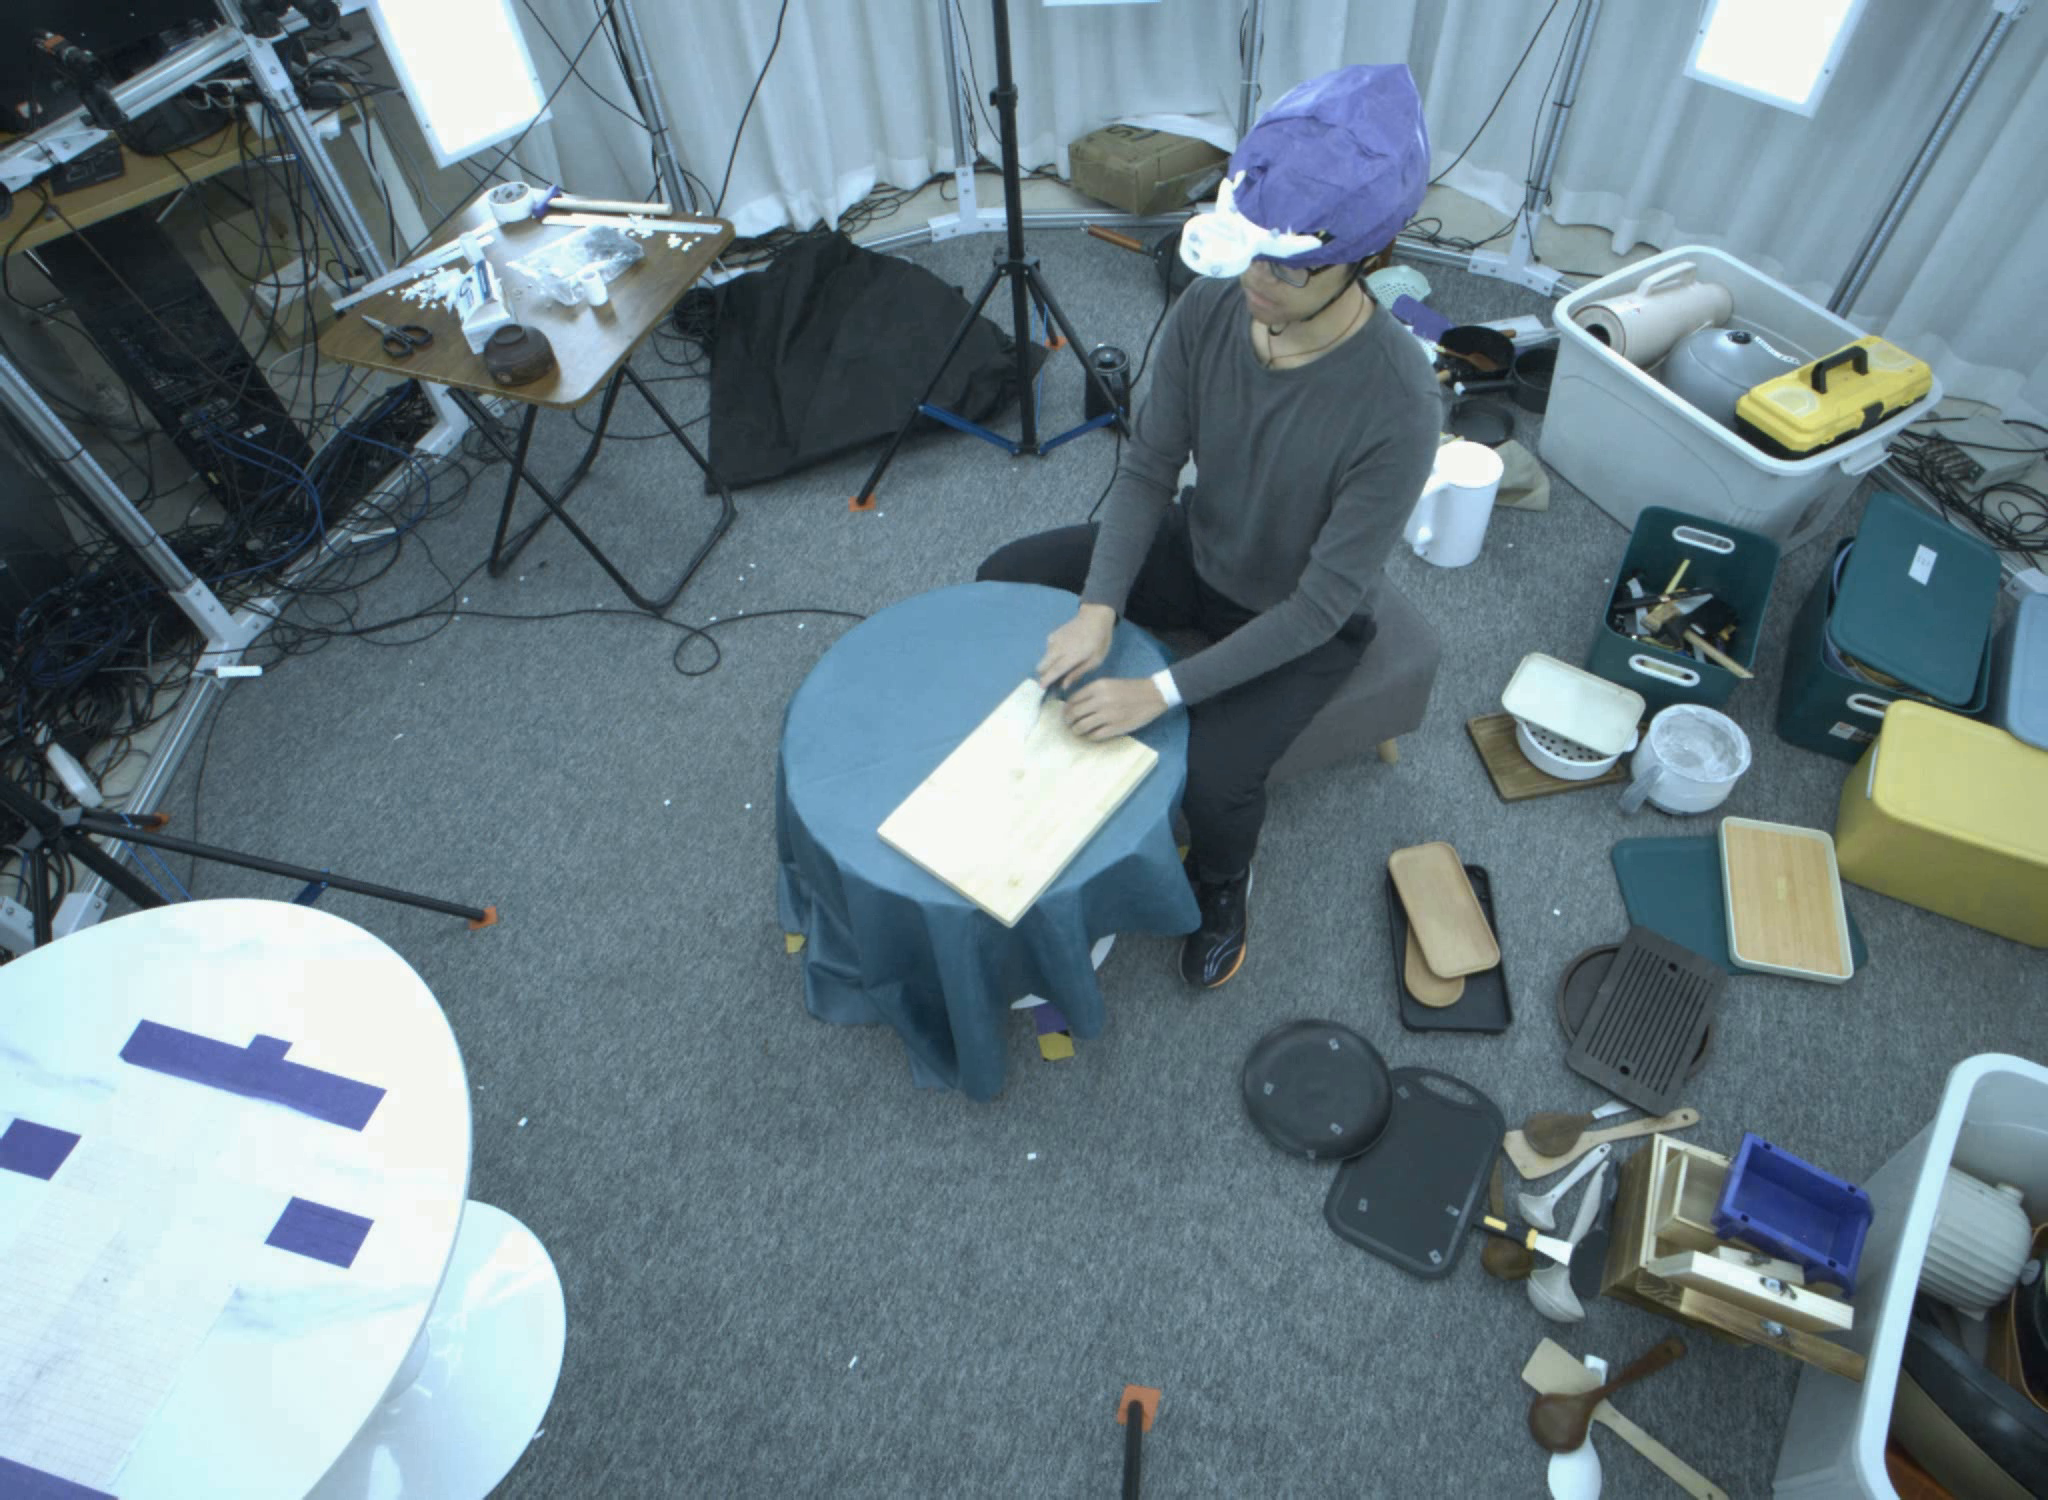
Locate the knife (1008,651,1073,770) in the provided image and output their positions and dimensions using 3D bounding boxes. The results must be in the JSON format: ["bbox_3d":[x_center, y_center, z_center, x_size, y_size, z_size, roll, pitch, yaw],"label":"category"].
[{"bbox_3d":[0.023,-0.059,1.732,0.016,0.024,0.238,24,53,4],"label":"knife"}]

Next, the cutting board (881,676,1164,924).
[{"bbox_3d":[-0.001,0.060,1.743,0.247,0.024,0.350,31,61,21],"label":"cutting board"}]
